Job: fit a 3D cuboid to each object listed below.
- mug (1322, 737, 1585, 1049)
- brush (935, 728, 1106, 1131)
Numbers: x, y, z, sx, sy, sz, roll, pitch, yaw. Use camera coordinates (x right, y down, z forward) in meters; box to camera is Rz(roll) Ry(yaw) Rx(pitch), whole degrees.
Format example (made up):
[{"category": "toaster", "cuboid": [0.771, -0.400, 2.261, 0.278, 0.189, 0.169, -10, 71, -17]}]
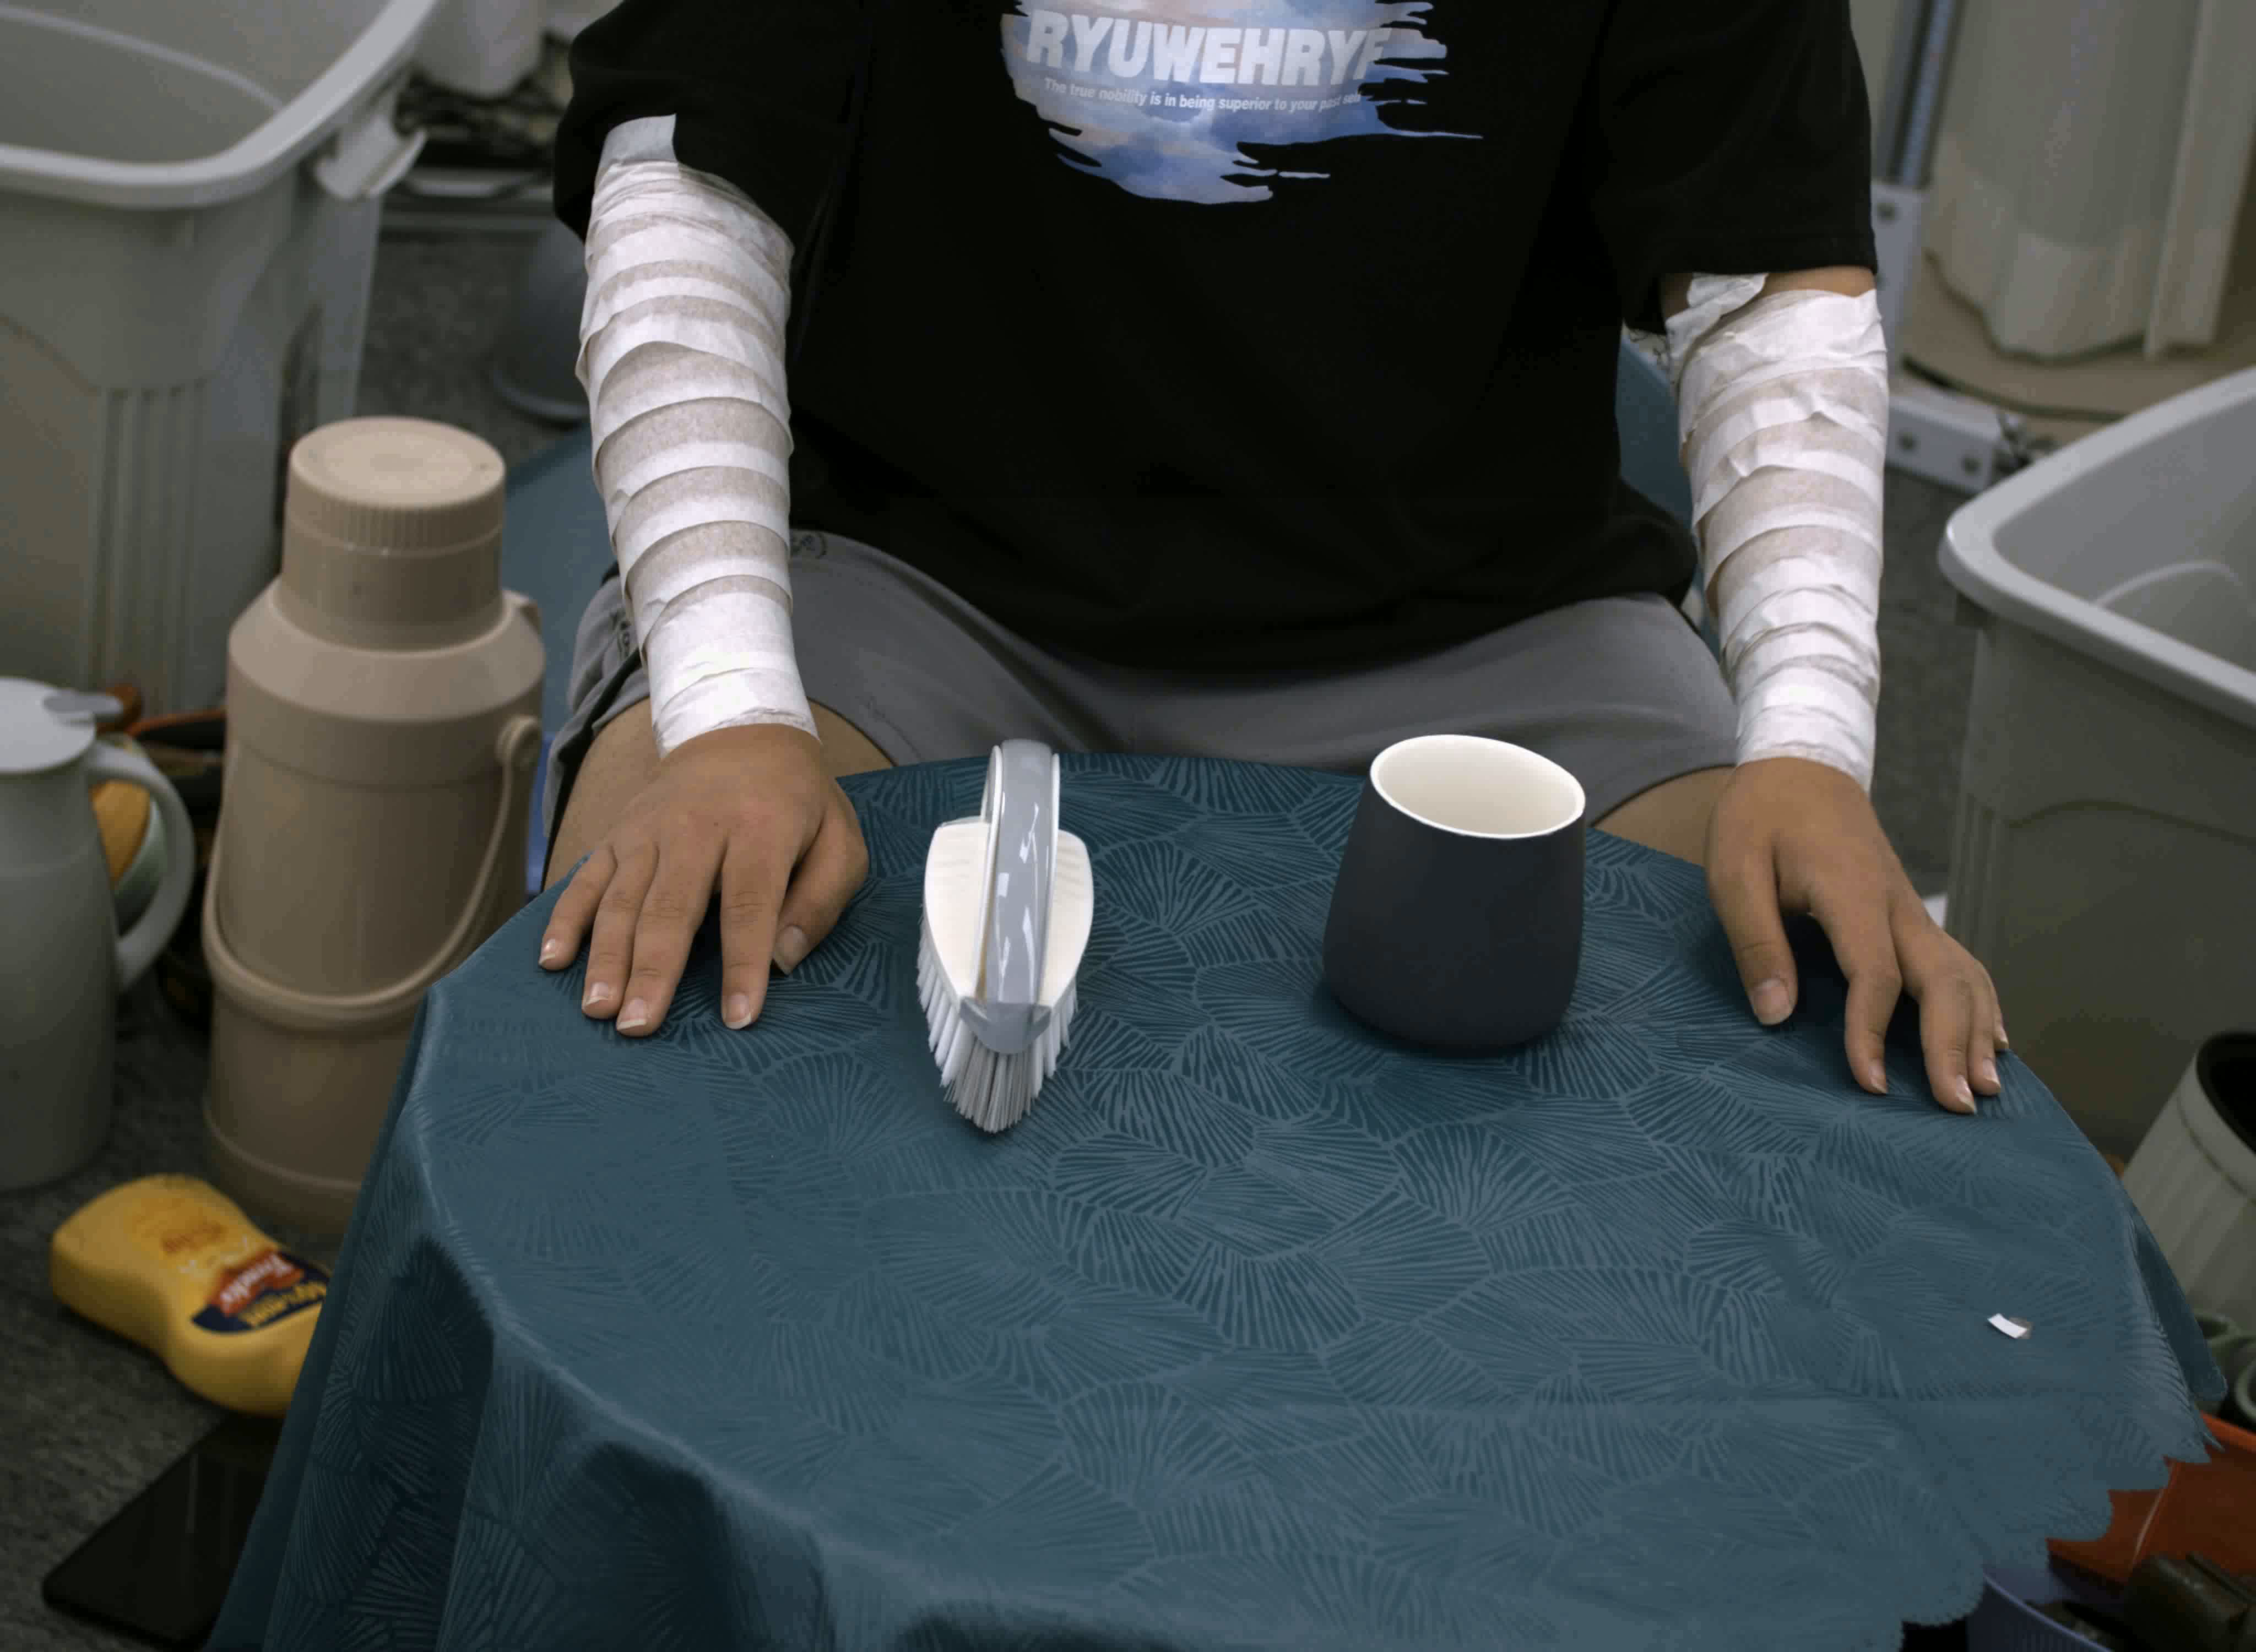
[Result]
[{"category": "mug", "cuboid": [0.115, 0.018, 1.940, 0.093, 0.089, 0.124, -3, 28, -19]}, {"category": "brush", "cuboid": [-0.039, 0.029, 1.883, 0.061, 0.094, 0.176, 5, 28, -1]}]
